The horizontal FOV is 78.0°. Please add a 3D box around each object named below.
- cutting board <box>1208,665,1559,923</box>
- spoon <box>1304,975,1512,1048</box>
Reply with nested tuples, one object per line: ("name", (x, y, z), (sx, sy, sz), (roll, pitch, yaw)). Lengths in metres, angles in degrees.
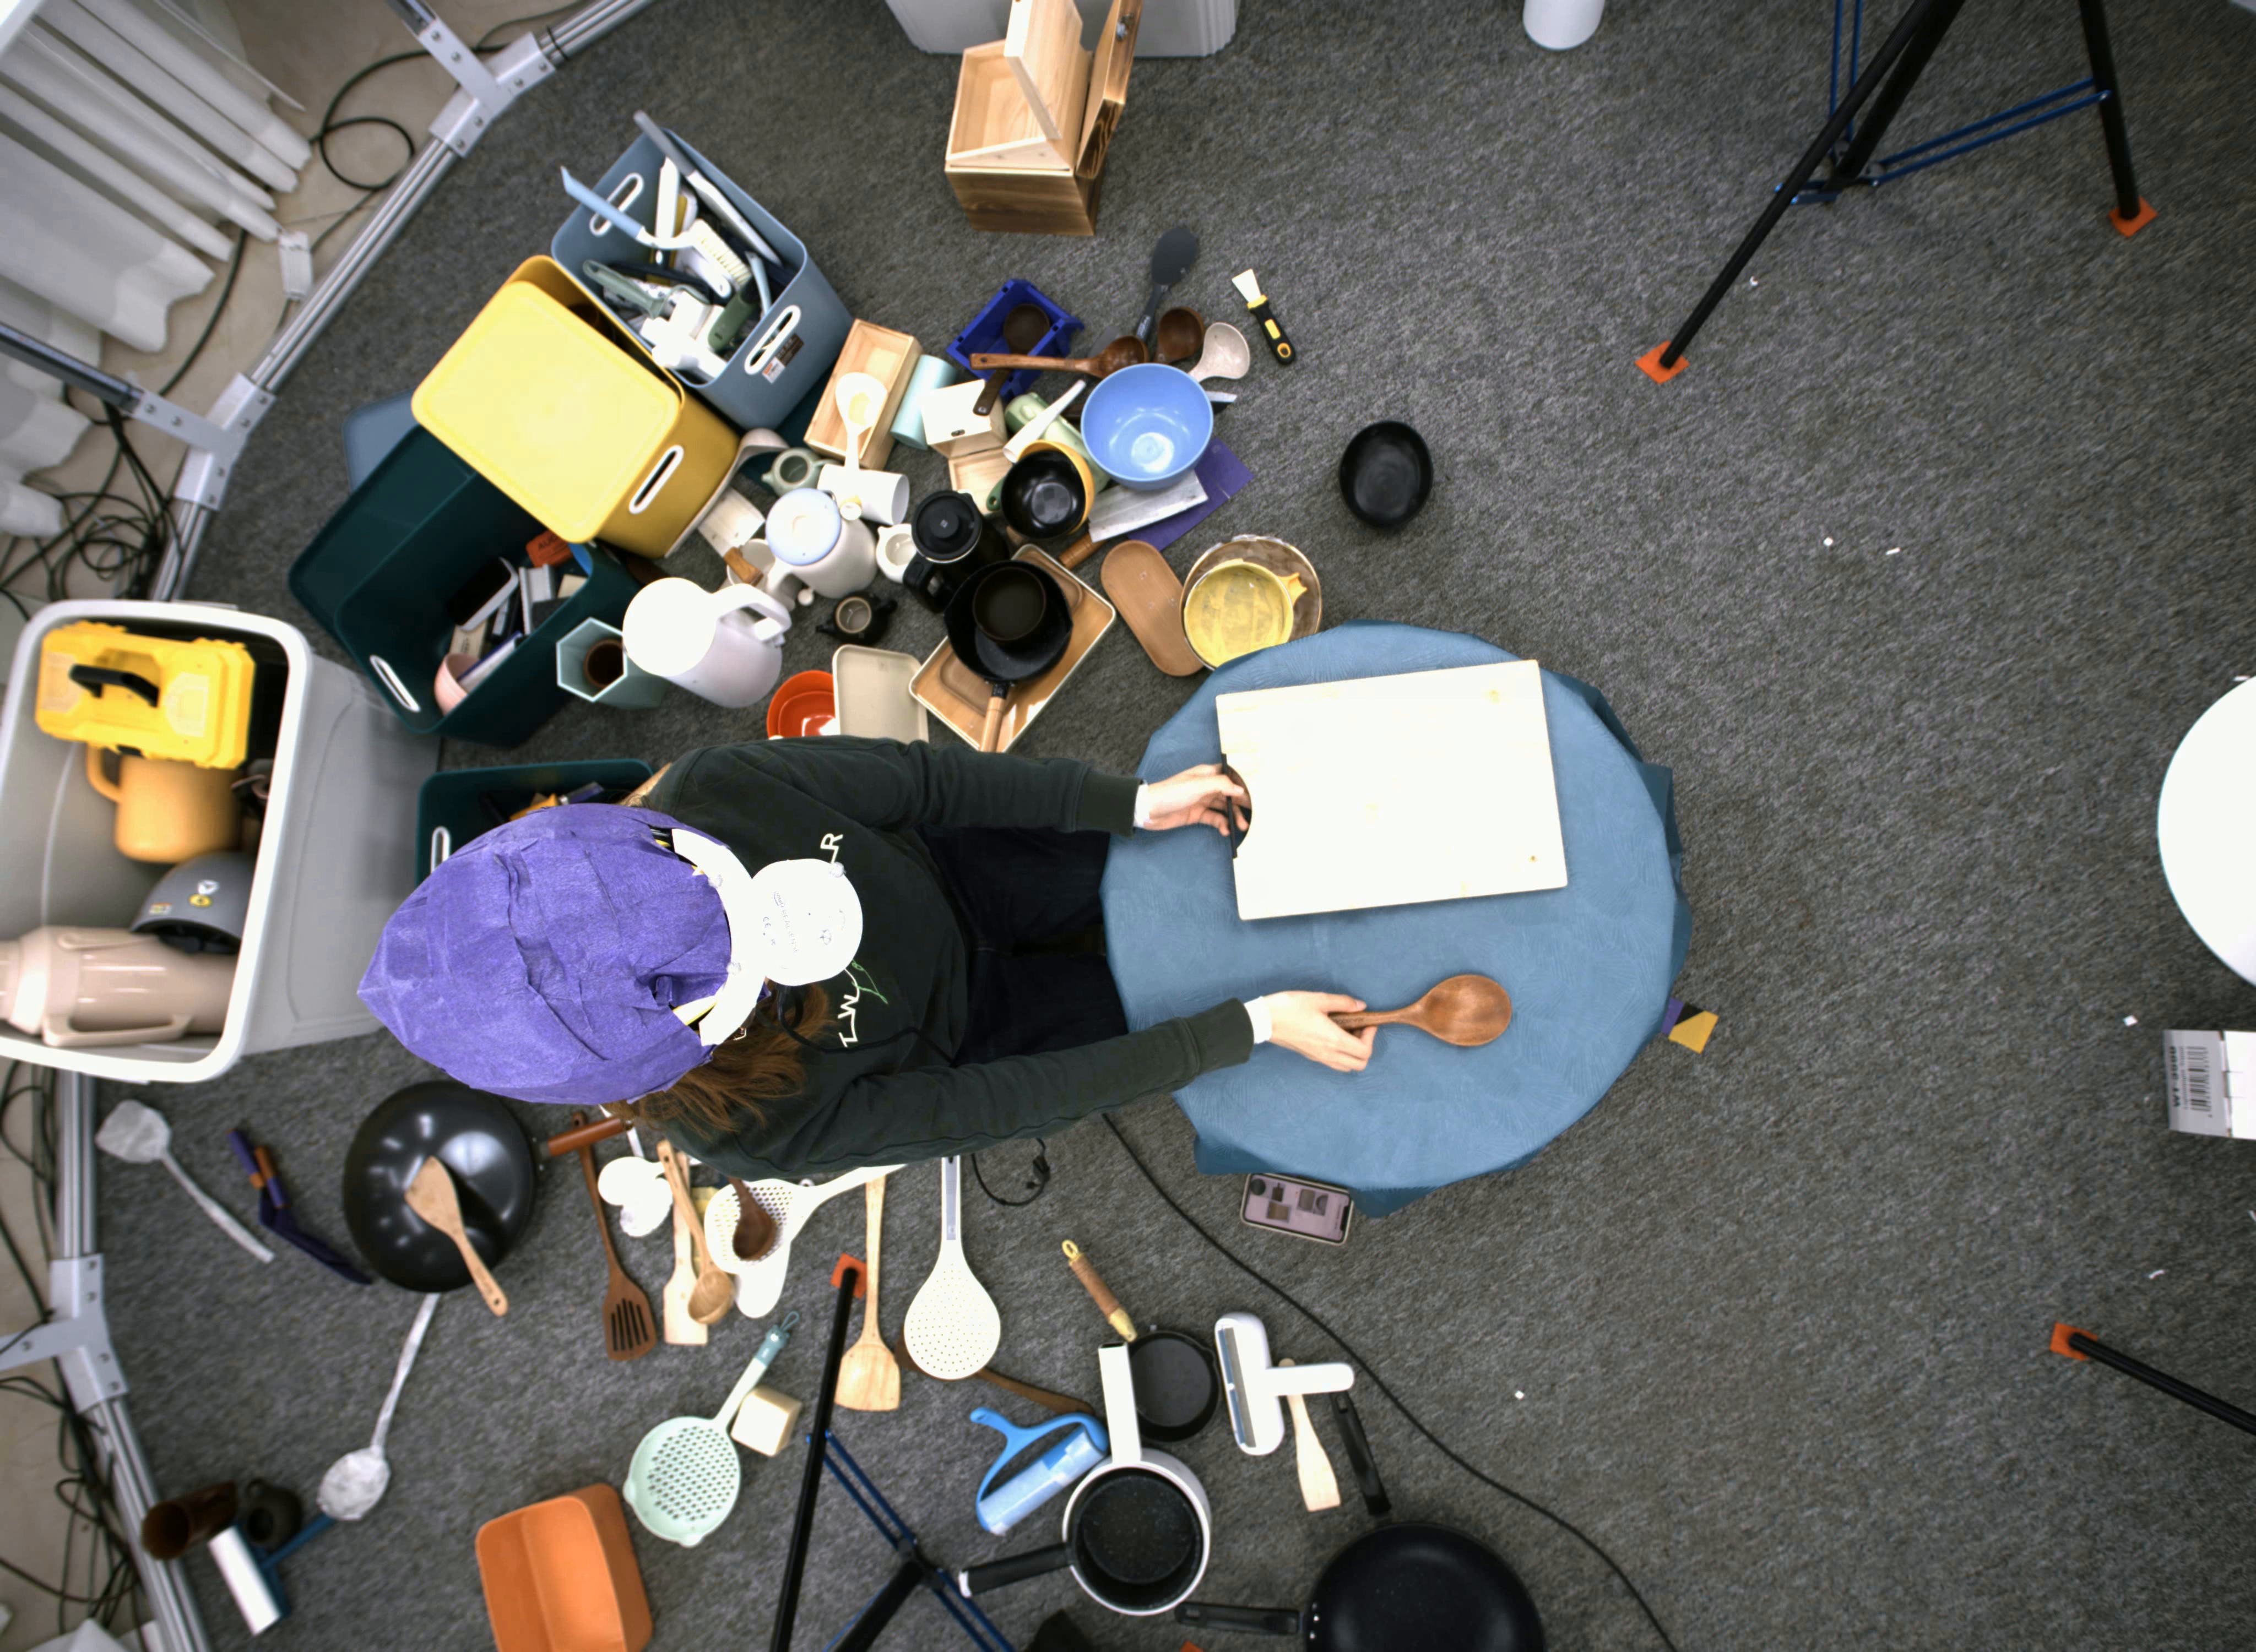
("cutting board", (0.269, -0.036, 1.448), (0.349, 0.023, 0.249), (-7, 84, 5))
("spoon", (0.290, 0.197, 1.436), (0.216, 0.017, 0.075), (-6, 86, 4))
